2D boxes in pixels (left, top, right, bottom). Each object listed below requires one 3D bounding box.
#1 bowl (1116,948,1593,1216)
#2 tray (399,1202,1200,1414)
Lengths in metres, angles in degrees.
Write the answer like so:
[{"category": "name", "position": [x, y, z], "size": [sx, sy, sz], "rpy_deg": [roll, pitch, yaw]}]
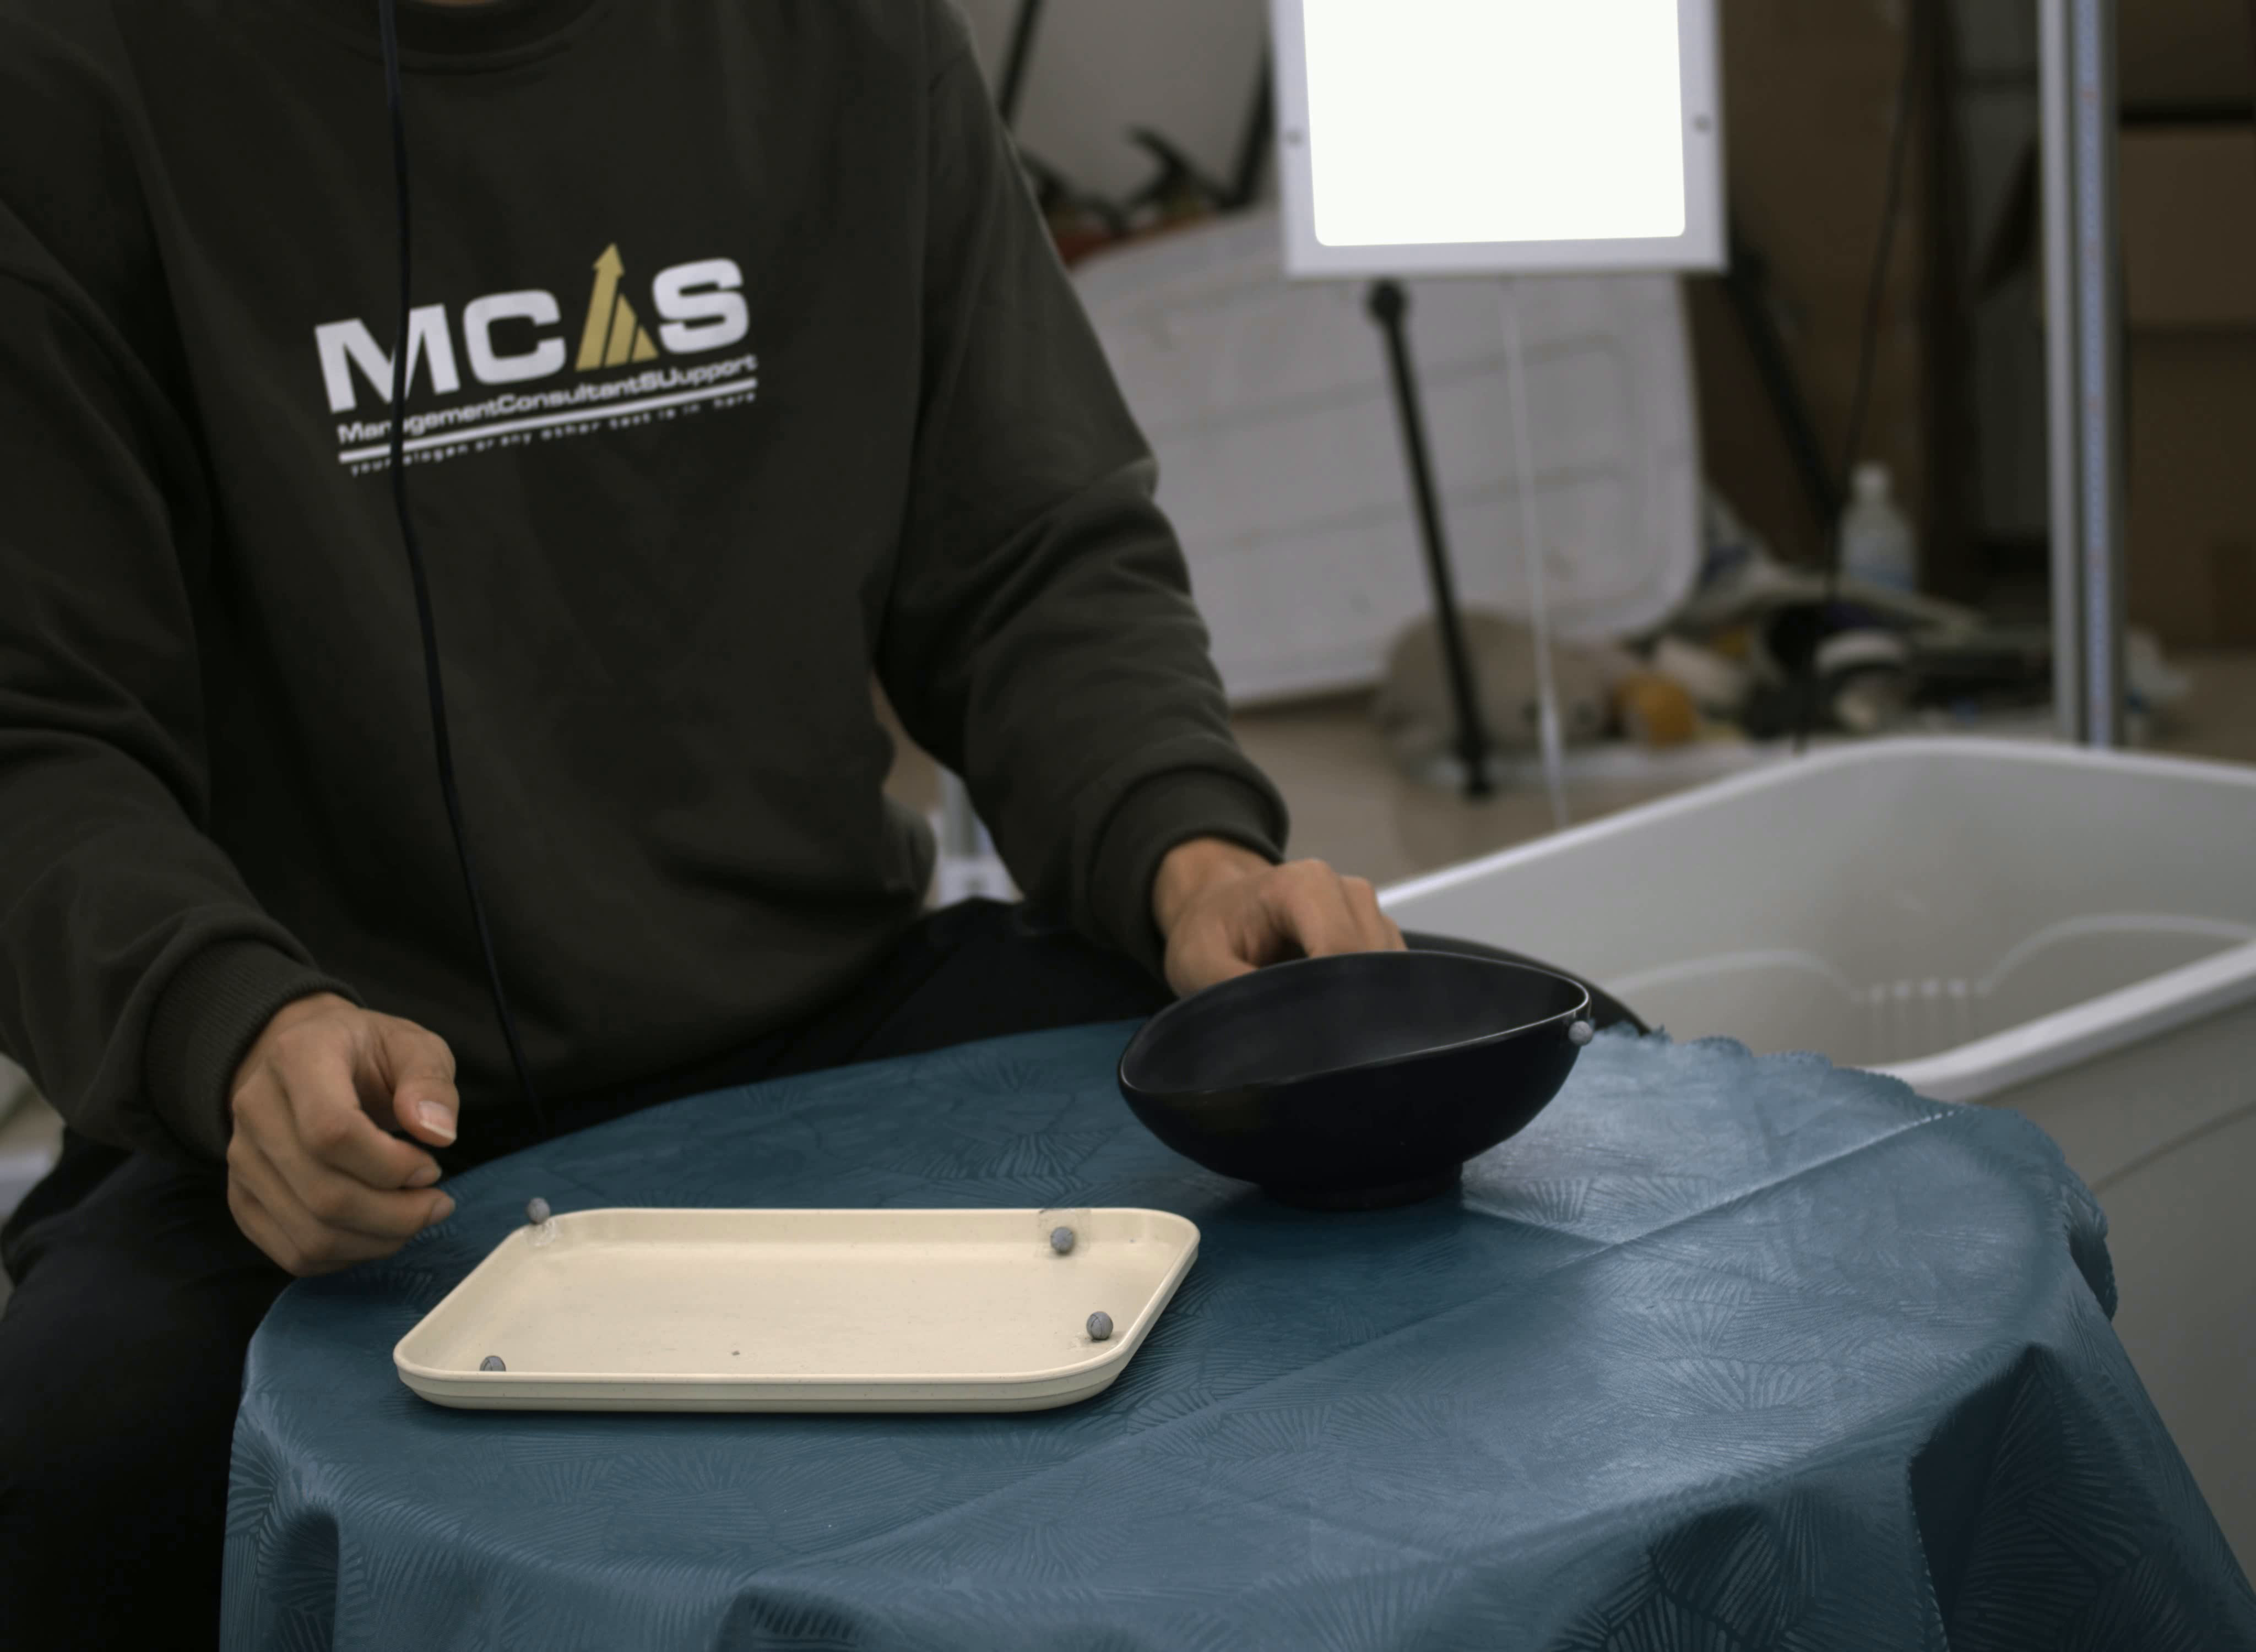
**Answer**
[{"category": "bowl", "position": [0.081, 0.093, 1.881], "size": [0.167, 0.067, 0.139], "rpy_deg": [-12, 14, -20]}, {"category": "tray", "position": [-0.103, 0.156, 1.778], "size": [0.242, 0.017, 0.169], "rpy_deg": [-1, 14, 15]}]
